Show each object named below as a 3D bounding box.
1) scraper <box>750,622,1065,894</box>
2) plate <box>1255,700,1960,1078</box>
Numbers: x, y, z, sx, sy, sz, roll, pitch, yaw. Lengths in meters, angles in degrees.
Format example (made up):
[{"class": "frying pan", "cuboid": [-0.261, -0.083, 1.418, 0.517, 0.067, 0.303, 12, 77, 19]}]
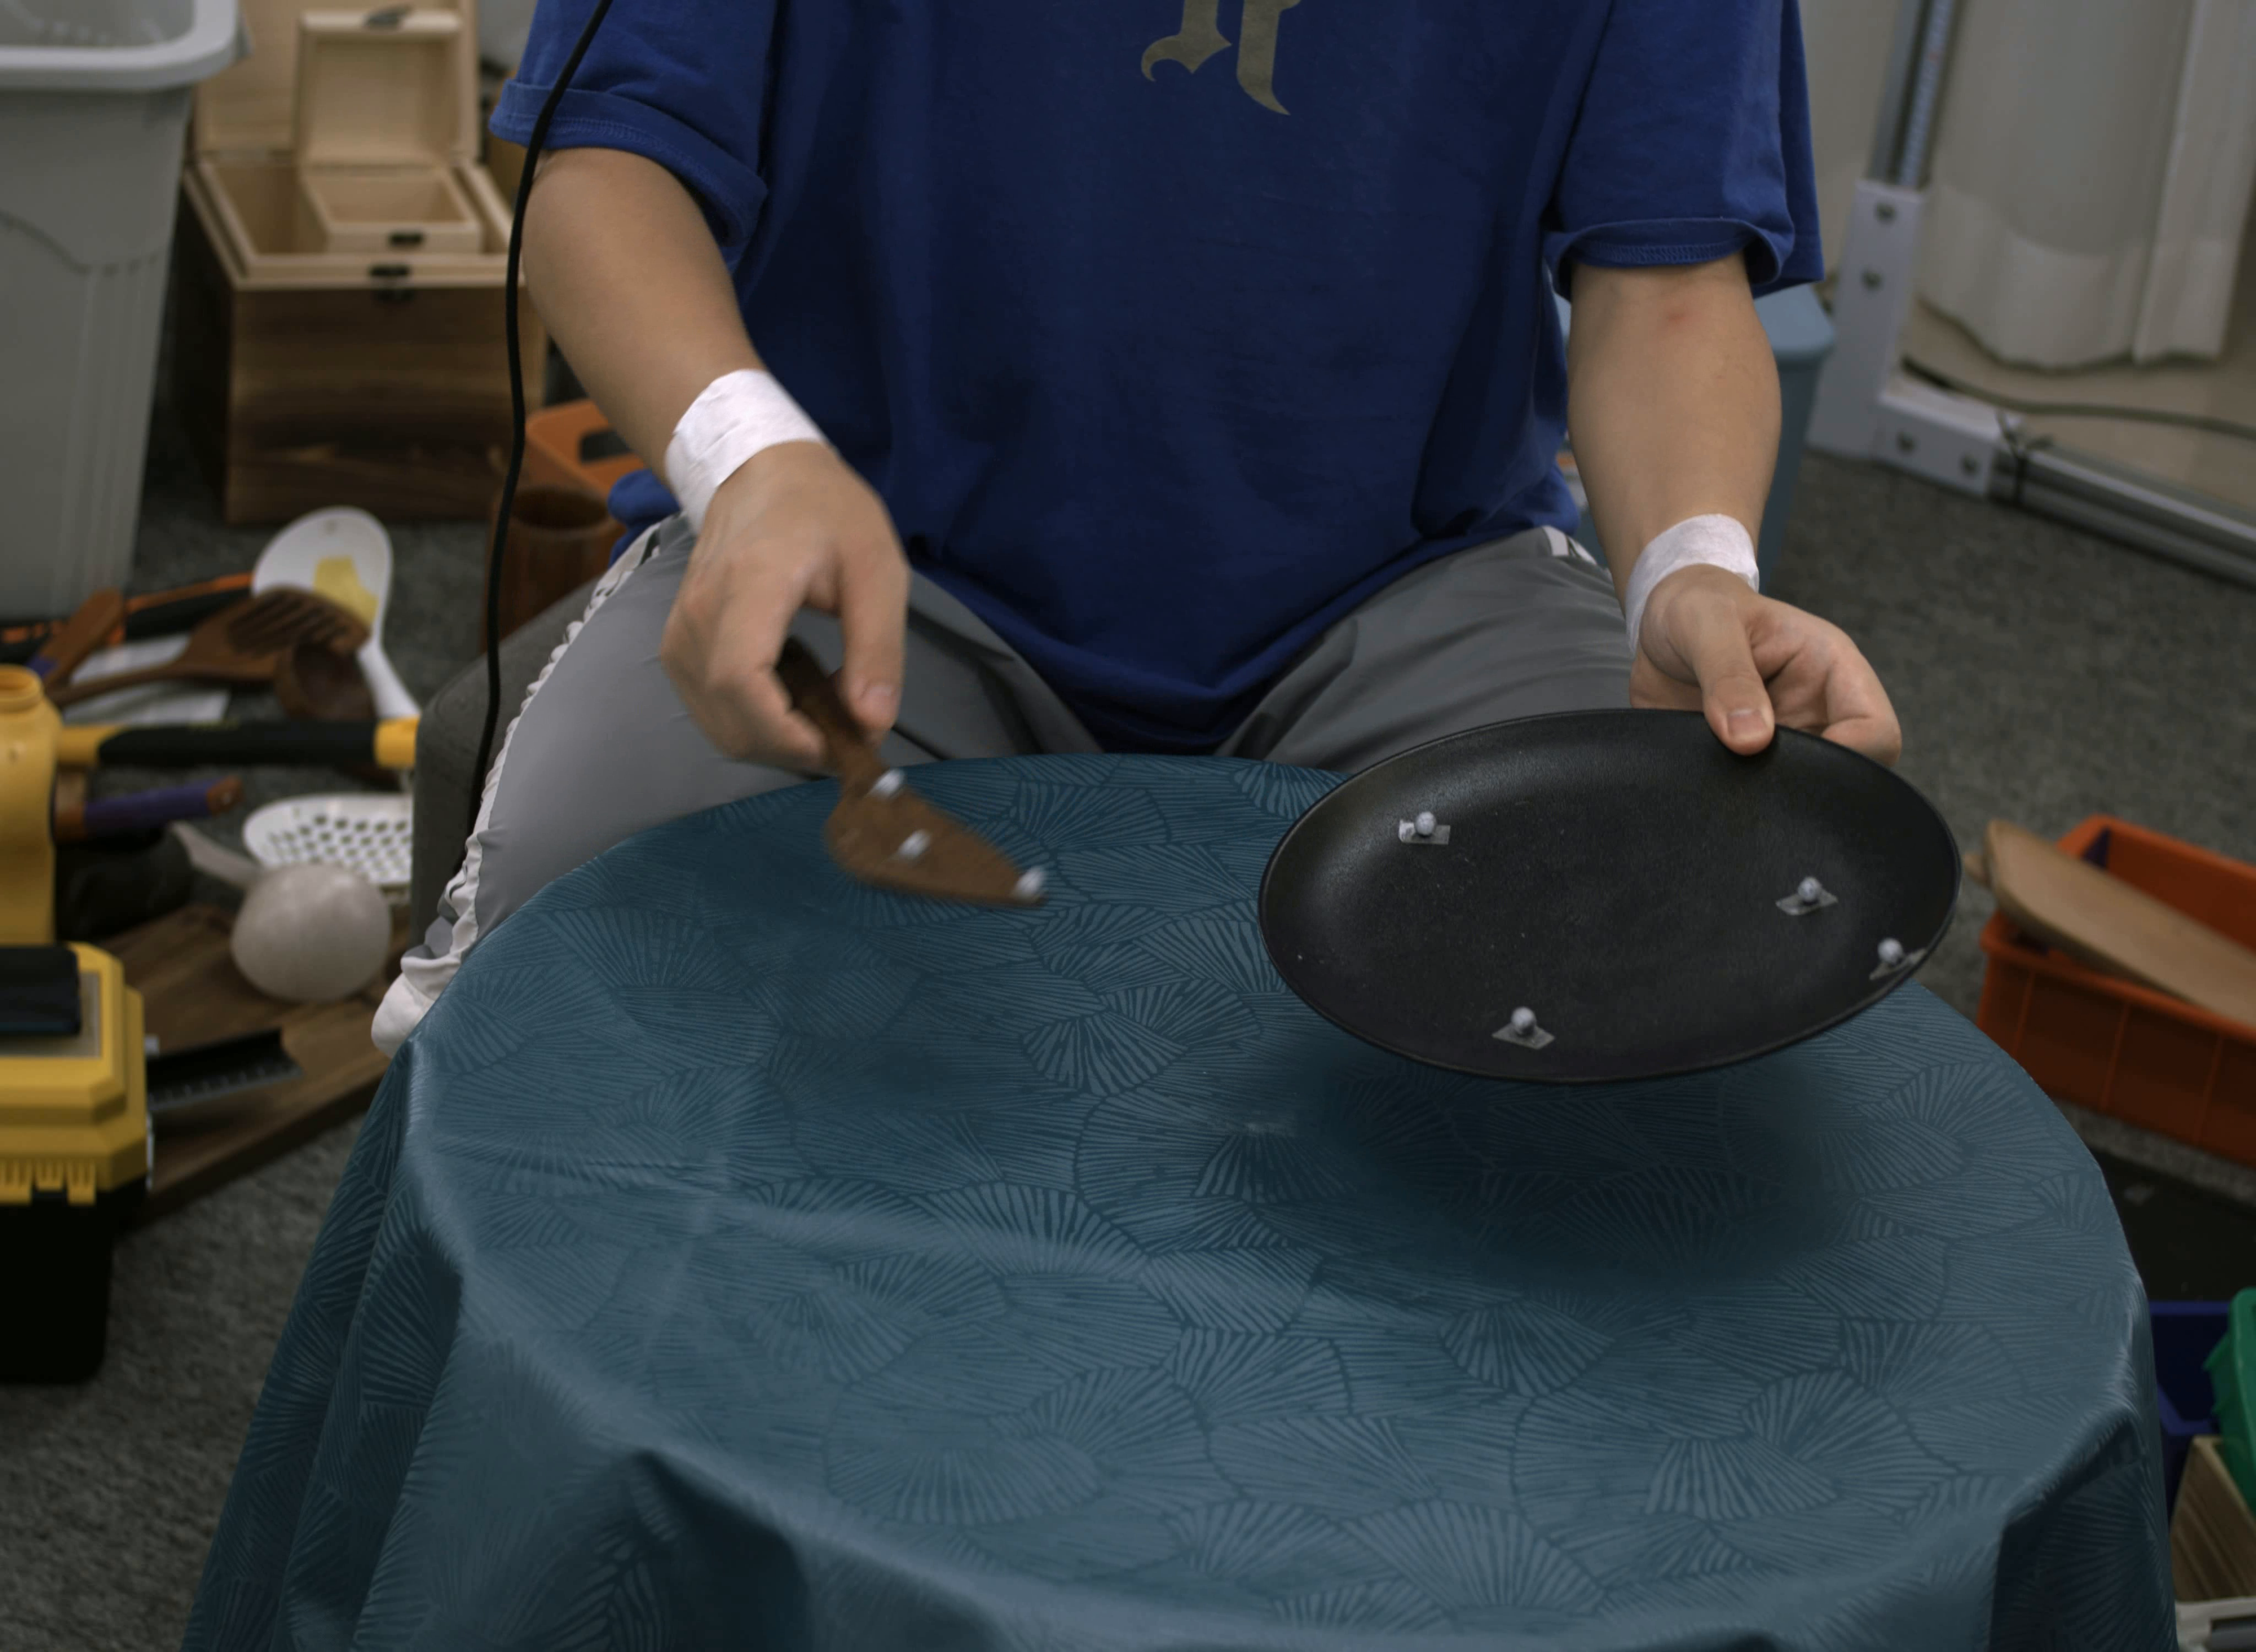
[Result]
[{"class": "scraper", "cuboid": [-0.090, -0.025, 1.887, 0.075, 0.011, 0.213, 9, 23, -28]}, {"class": "plate", "cuboid": [0.165, 0.025, 1.842, 0.244, 0.023, 0.246, -6, 30, 3]}]
